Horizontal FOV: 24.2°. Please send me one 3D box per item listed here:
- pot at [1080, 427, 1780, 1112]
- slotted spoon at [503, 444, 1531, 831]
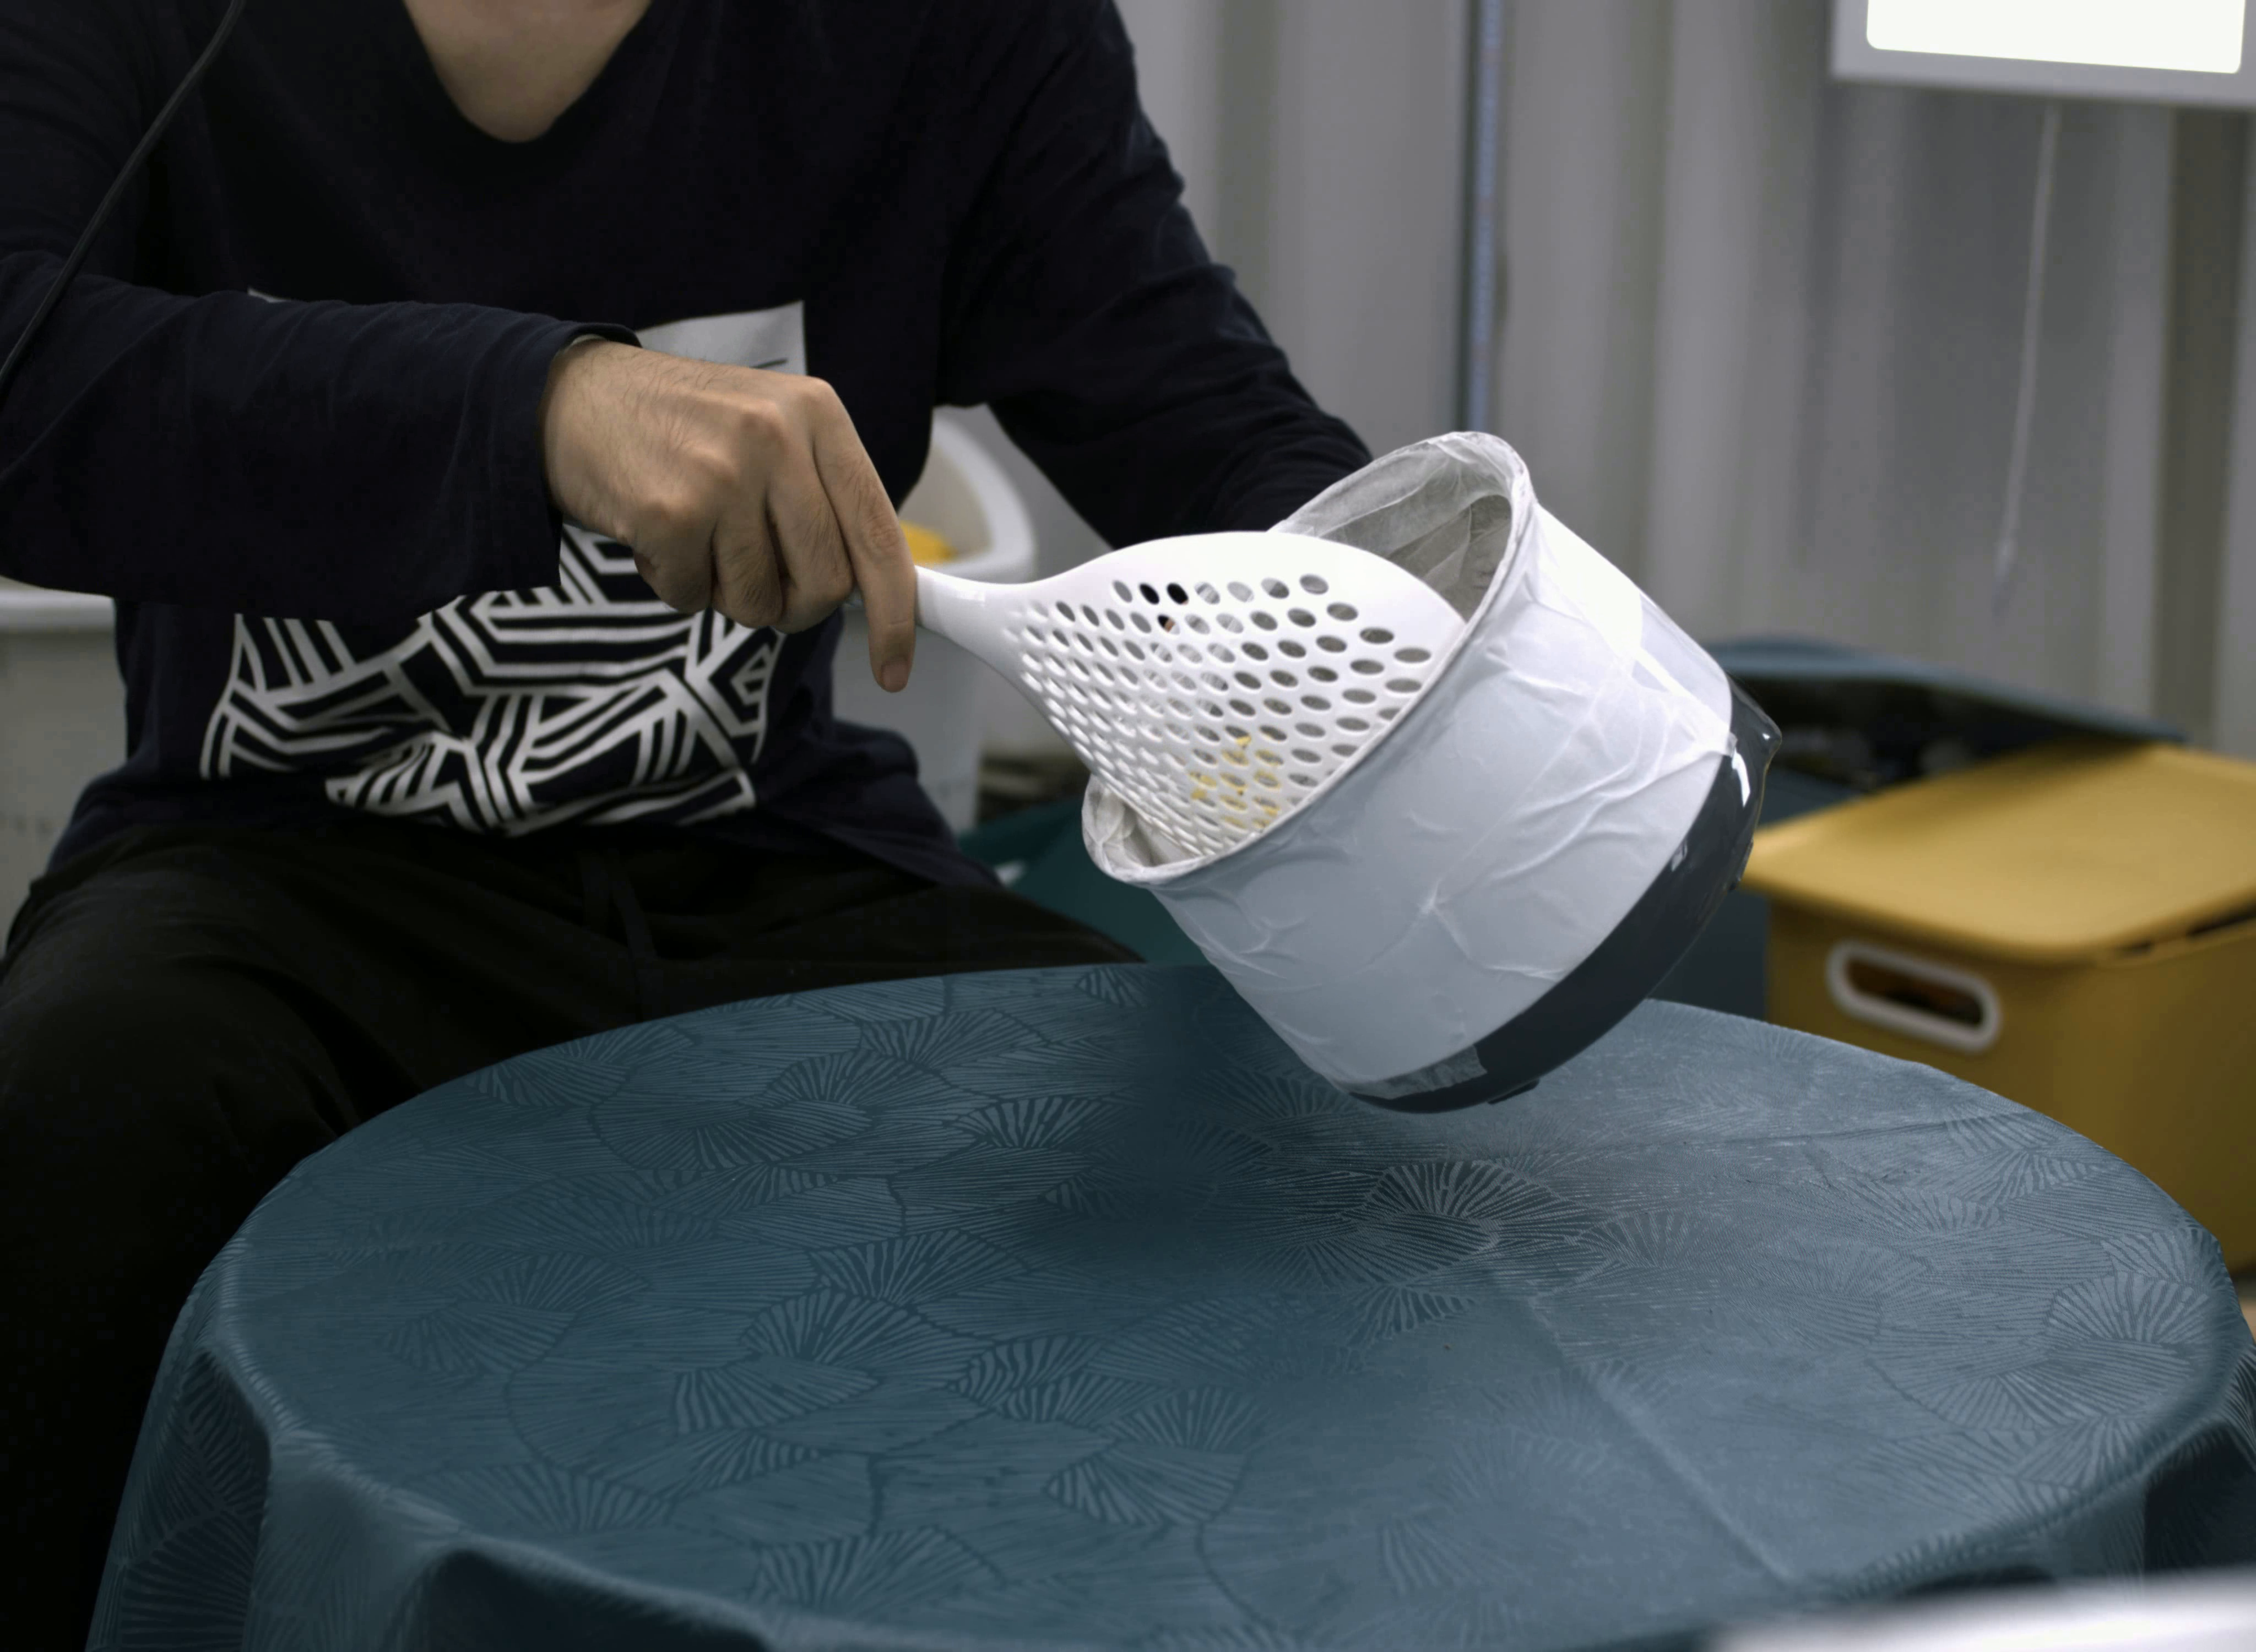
[{"bbox_3d":[0.085,-0.020,1.620,0.178,0.138,0.231,-44,24,-1],"label":"pot"},{"bbox_3d":[-0.038,-0.060,1.594,0.344,0.138,0.050,22,42,25],"label":"slotted spoon"}]
